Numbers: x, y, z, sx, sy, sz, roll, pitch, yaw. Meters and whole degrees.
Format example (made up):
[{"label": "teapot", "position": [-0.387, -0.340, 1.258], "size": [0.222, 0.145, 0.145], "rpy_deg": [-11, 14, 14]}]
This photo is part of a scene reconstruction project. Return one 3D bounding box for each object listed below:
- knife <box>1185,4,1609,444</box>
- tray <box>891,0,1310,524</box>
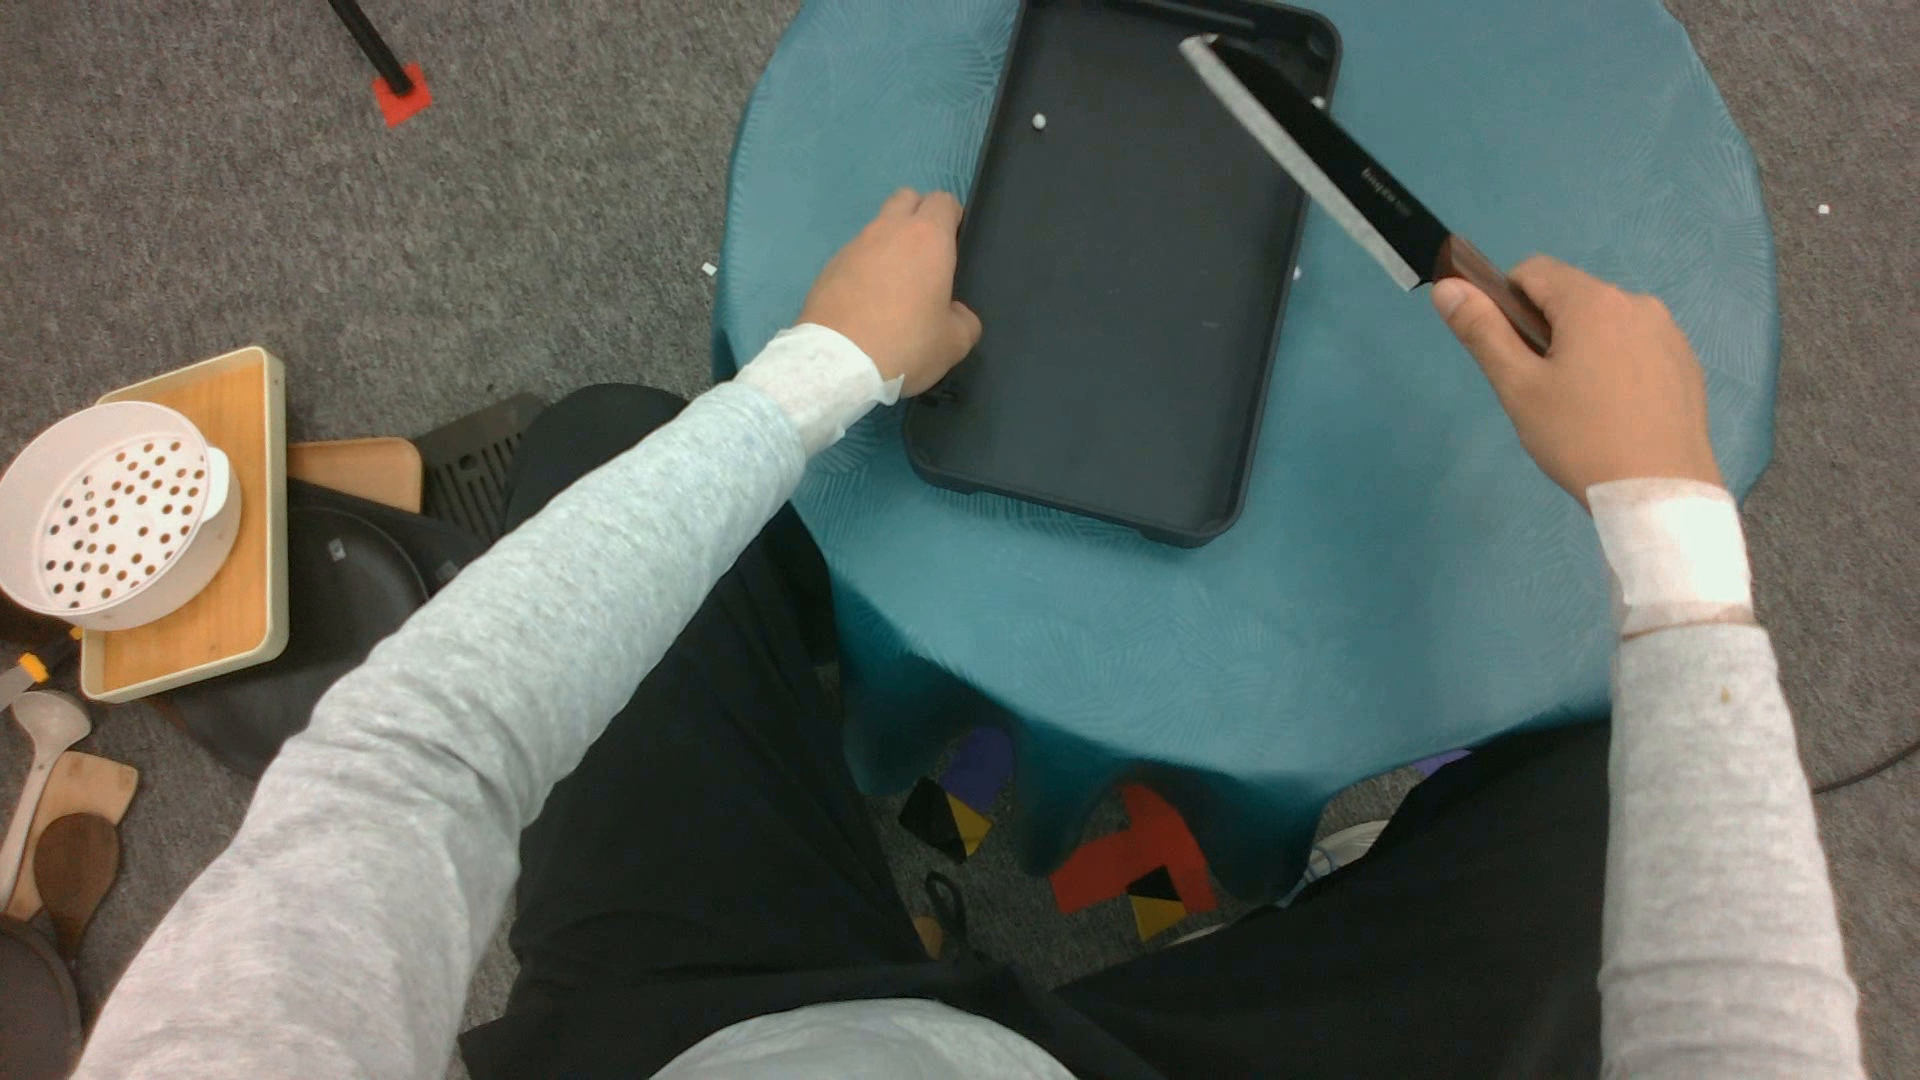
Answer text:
[{"label": "knife", "position": [0.203, -0.156, 0.660], "size": [0.020, 0.050, 0.289], "rpy_deg": [-34, 78, -26]}, {"label": "tray", "position": [0.081, -0.174, 0.763], "size": [0.184, 0.037, 0.318], "rpy_deg": [12, 76, 1]}]
